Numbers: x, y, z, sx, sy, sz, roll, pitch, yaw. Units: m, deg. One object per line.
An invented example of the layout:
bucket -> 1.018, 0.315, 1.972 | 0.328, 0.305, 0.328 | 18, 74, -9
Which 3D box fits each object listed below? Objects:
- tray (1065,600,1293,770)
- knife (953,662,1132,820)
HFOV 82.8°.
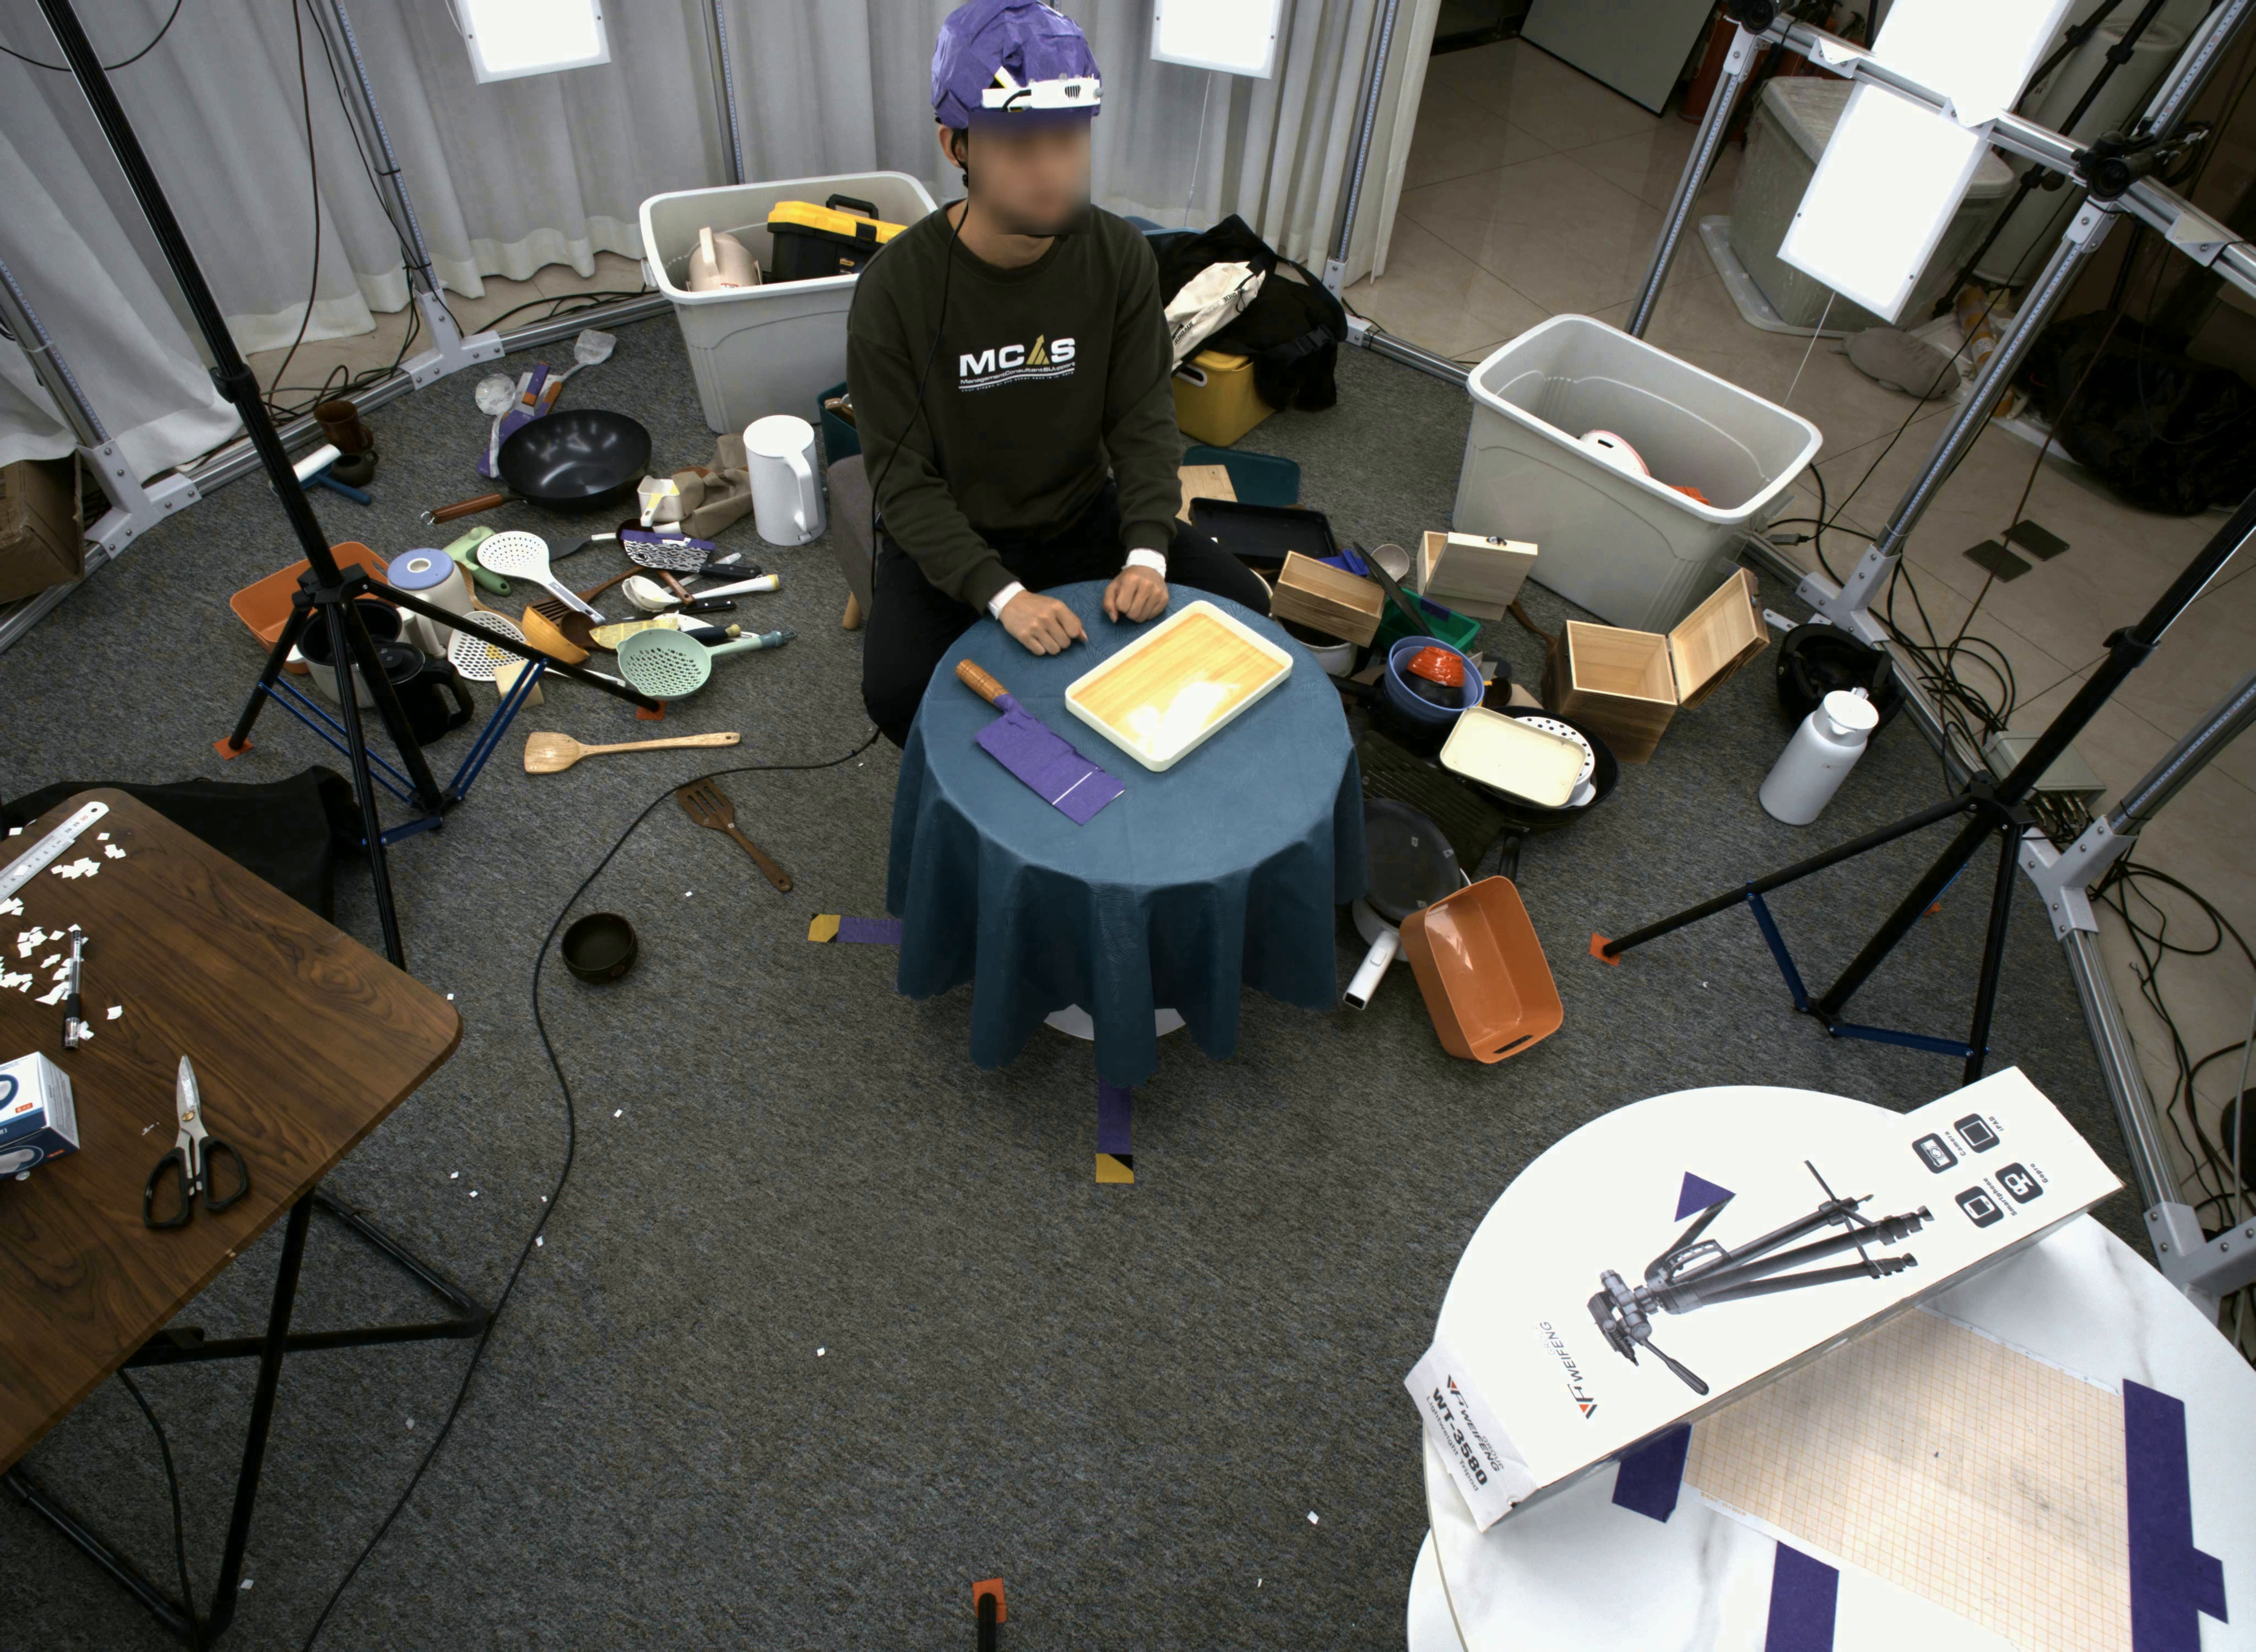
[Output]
tray -> 0.075, -0.208, 1.835 | 0.194, 0.027, 0.303 | 37, 56, 25
knife -> -0.142, -0.119, 1.743 | 0.319, 0.031, 0.105 | 37, 56, 24
